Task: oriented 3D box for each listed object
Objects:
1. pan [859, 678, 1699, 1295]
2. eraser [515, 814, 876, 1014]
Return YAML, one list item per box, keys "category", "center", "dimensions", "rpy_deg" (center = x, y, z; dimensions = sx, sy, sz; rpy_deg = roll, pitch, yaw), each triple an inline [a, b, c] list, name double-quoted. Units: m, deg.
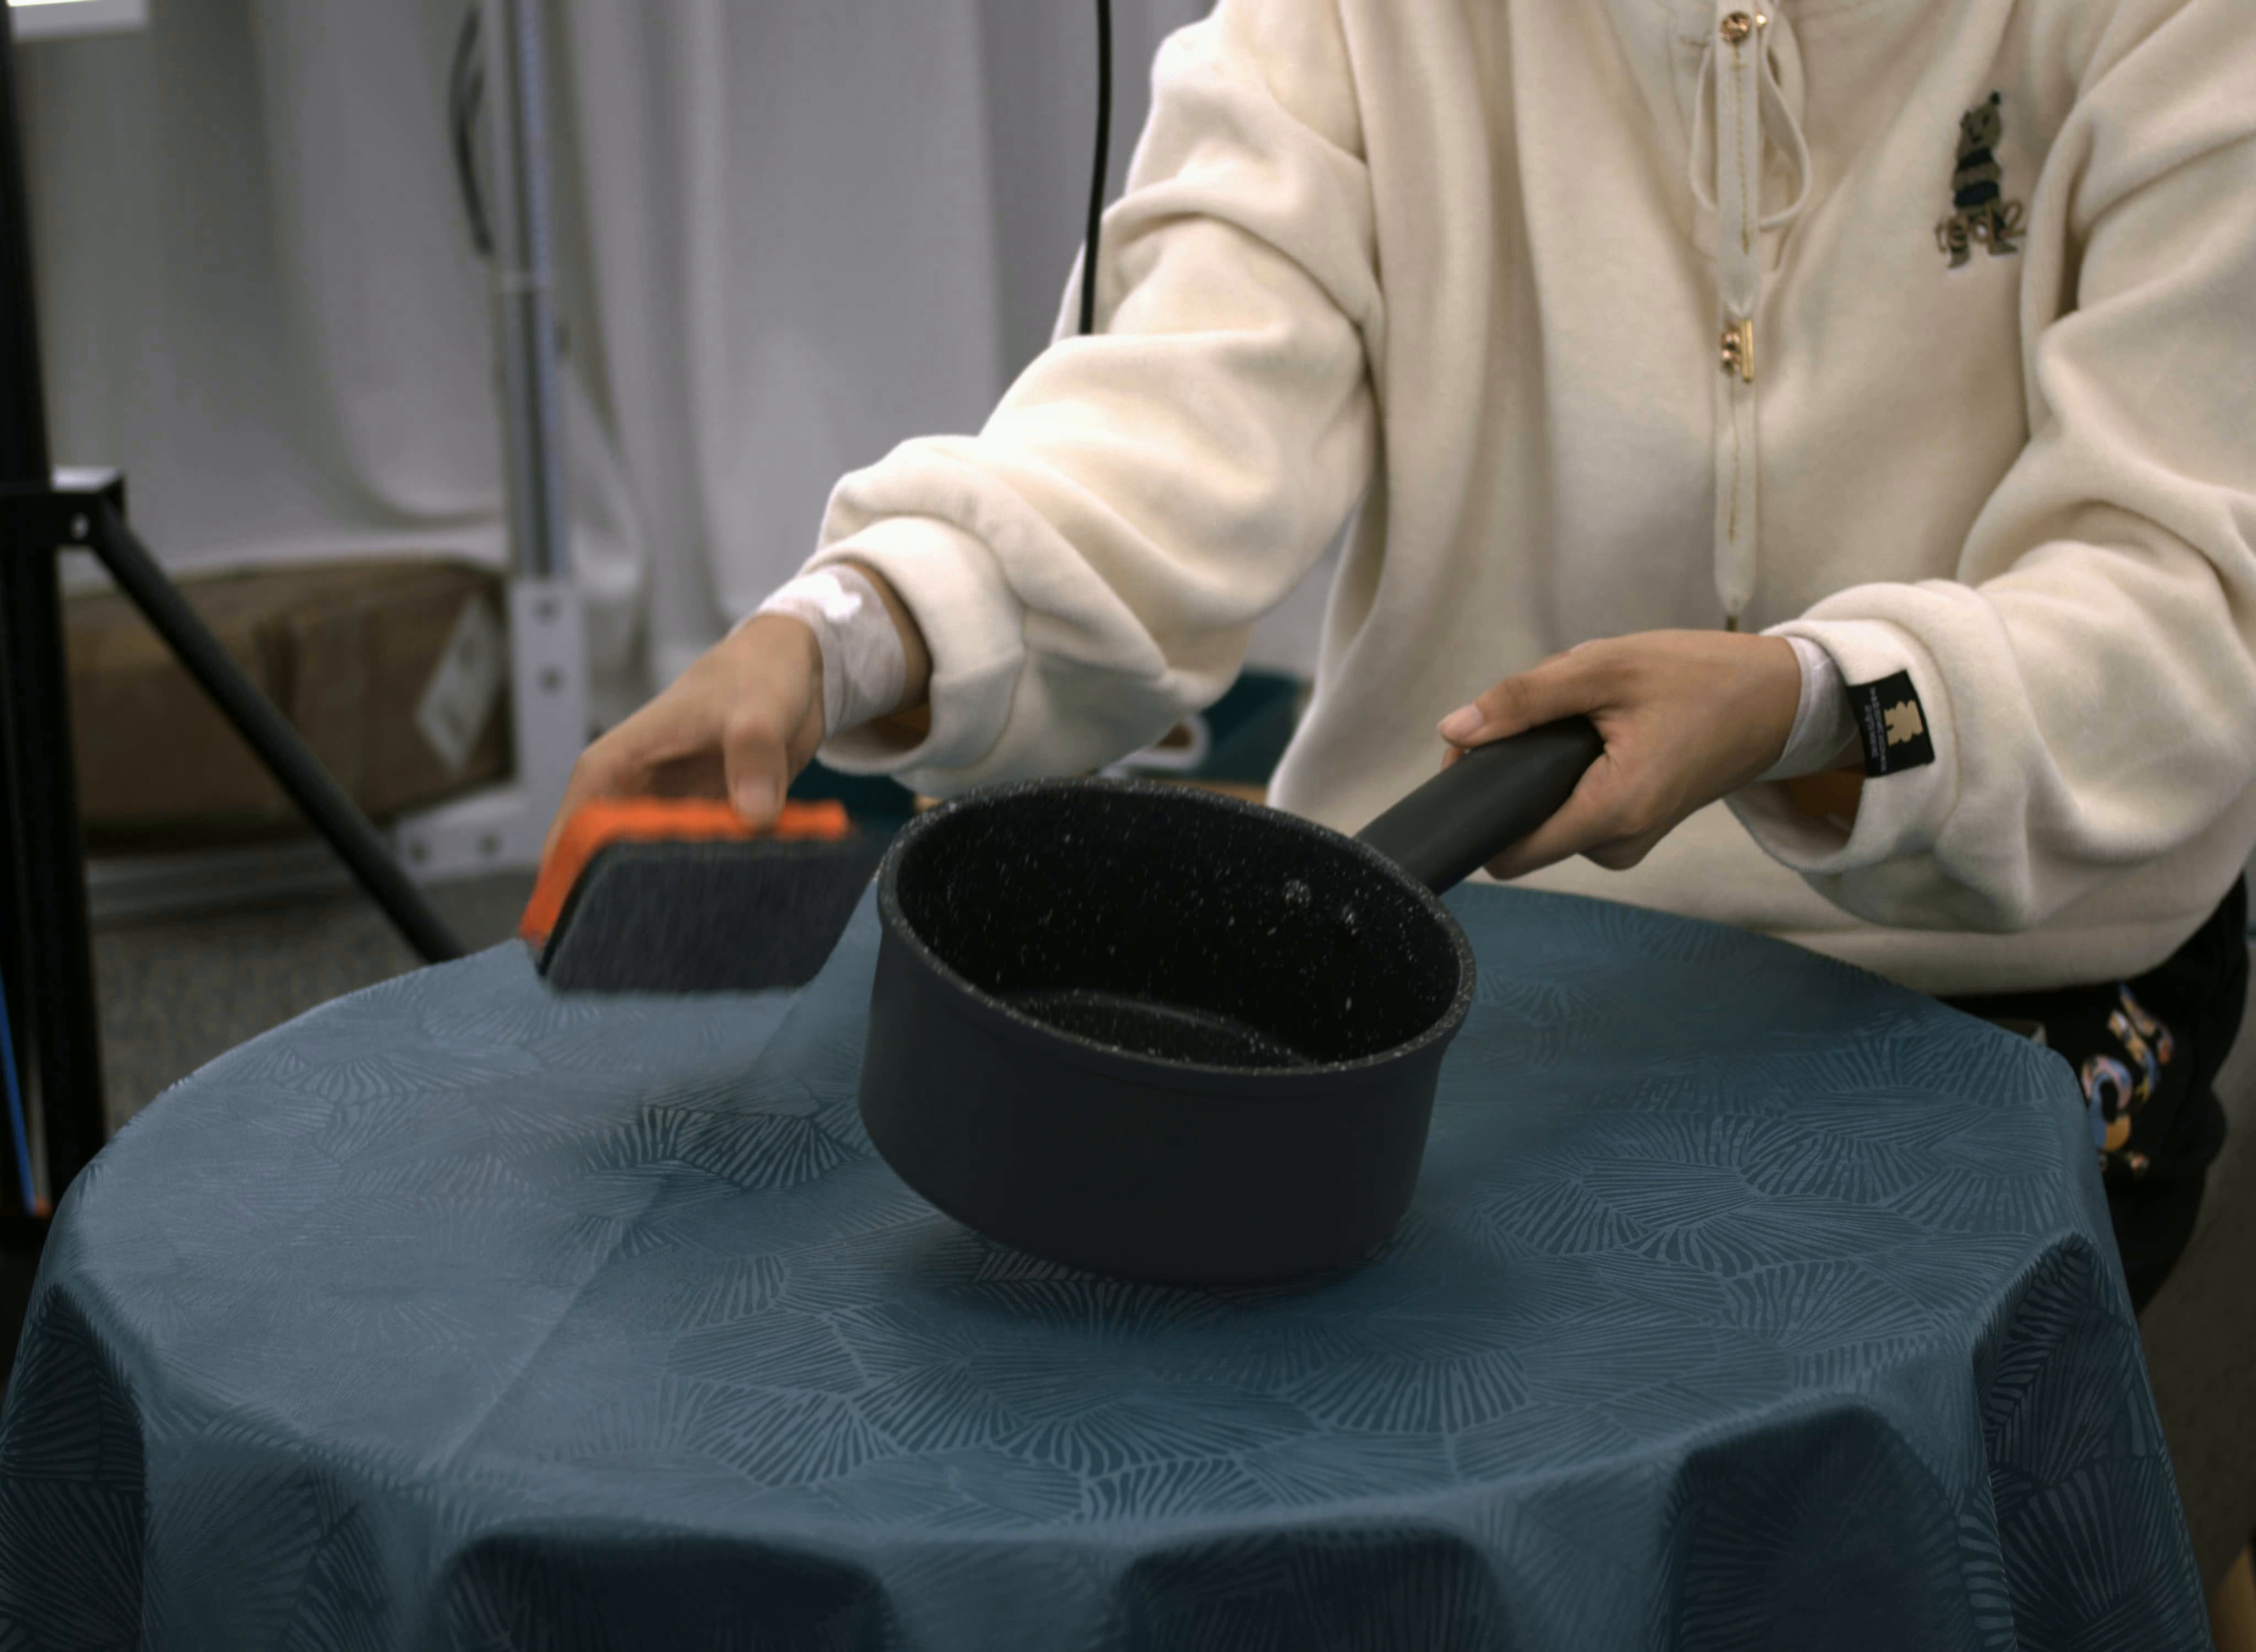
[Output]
- category: "pan"
  center: [0.057, 0.037, 1.558]
  dimensions: [0.175, 0.086, 0.322]
  rpy_deg: [28, 33, 32]
- category: "eraser"
  center: [-0.130, 0.026, 1.605]
  dimensions: [0.105, 0.059, 0.023]
  rpy_deg: [-2, 40, -42]
